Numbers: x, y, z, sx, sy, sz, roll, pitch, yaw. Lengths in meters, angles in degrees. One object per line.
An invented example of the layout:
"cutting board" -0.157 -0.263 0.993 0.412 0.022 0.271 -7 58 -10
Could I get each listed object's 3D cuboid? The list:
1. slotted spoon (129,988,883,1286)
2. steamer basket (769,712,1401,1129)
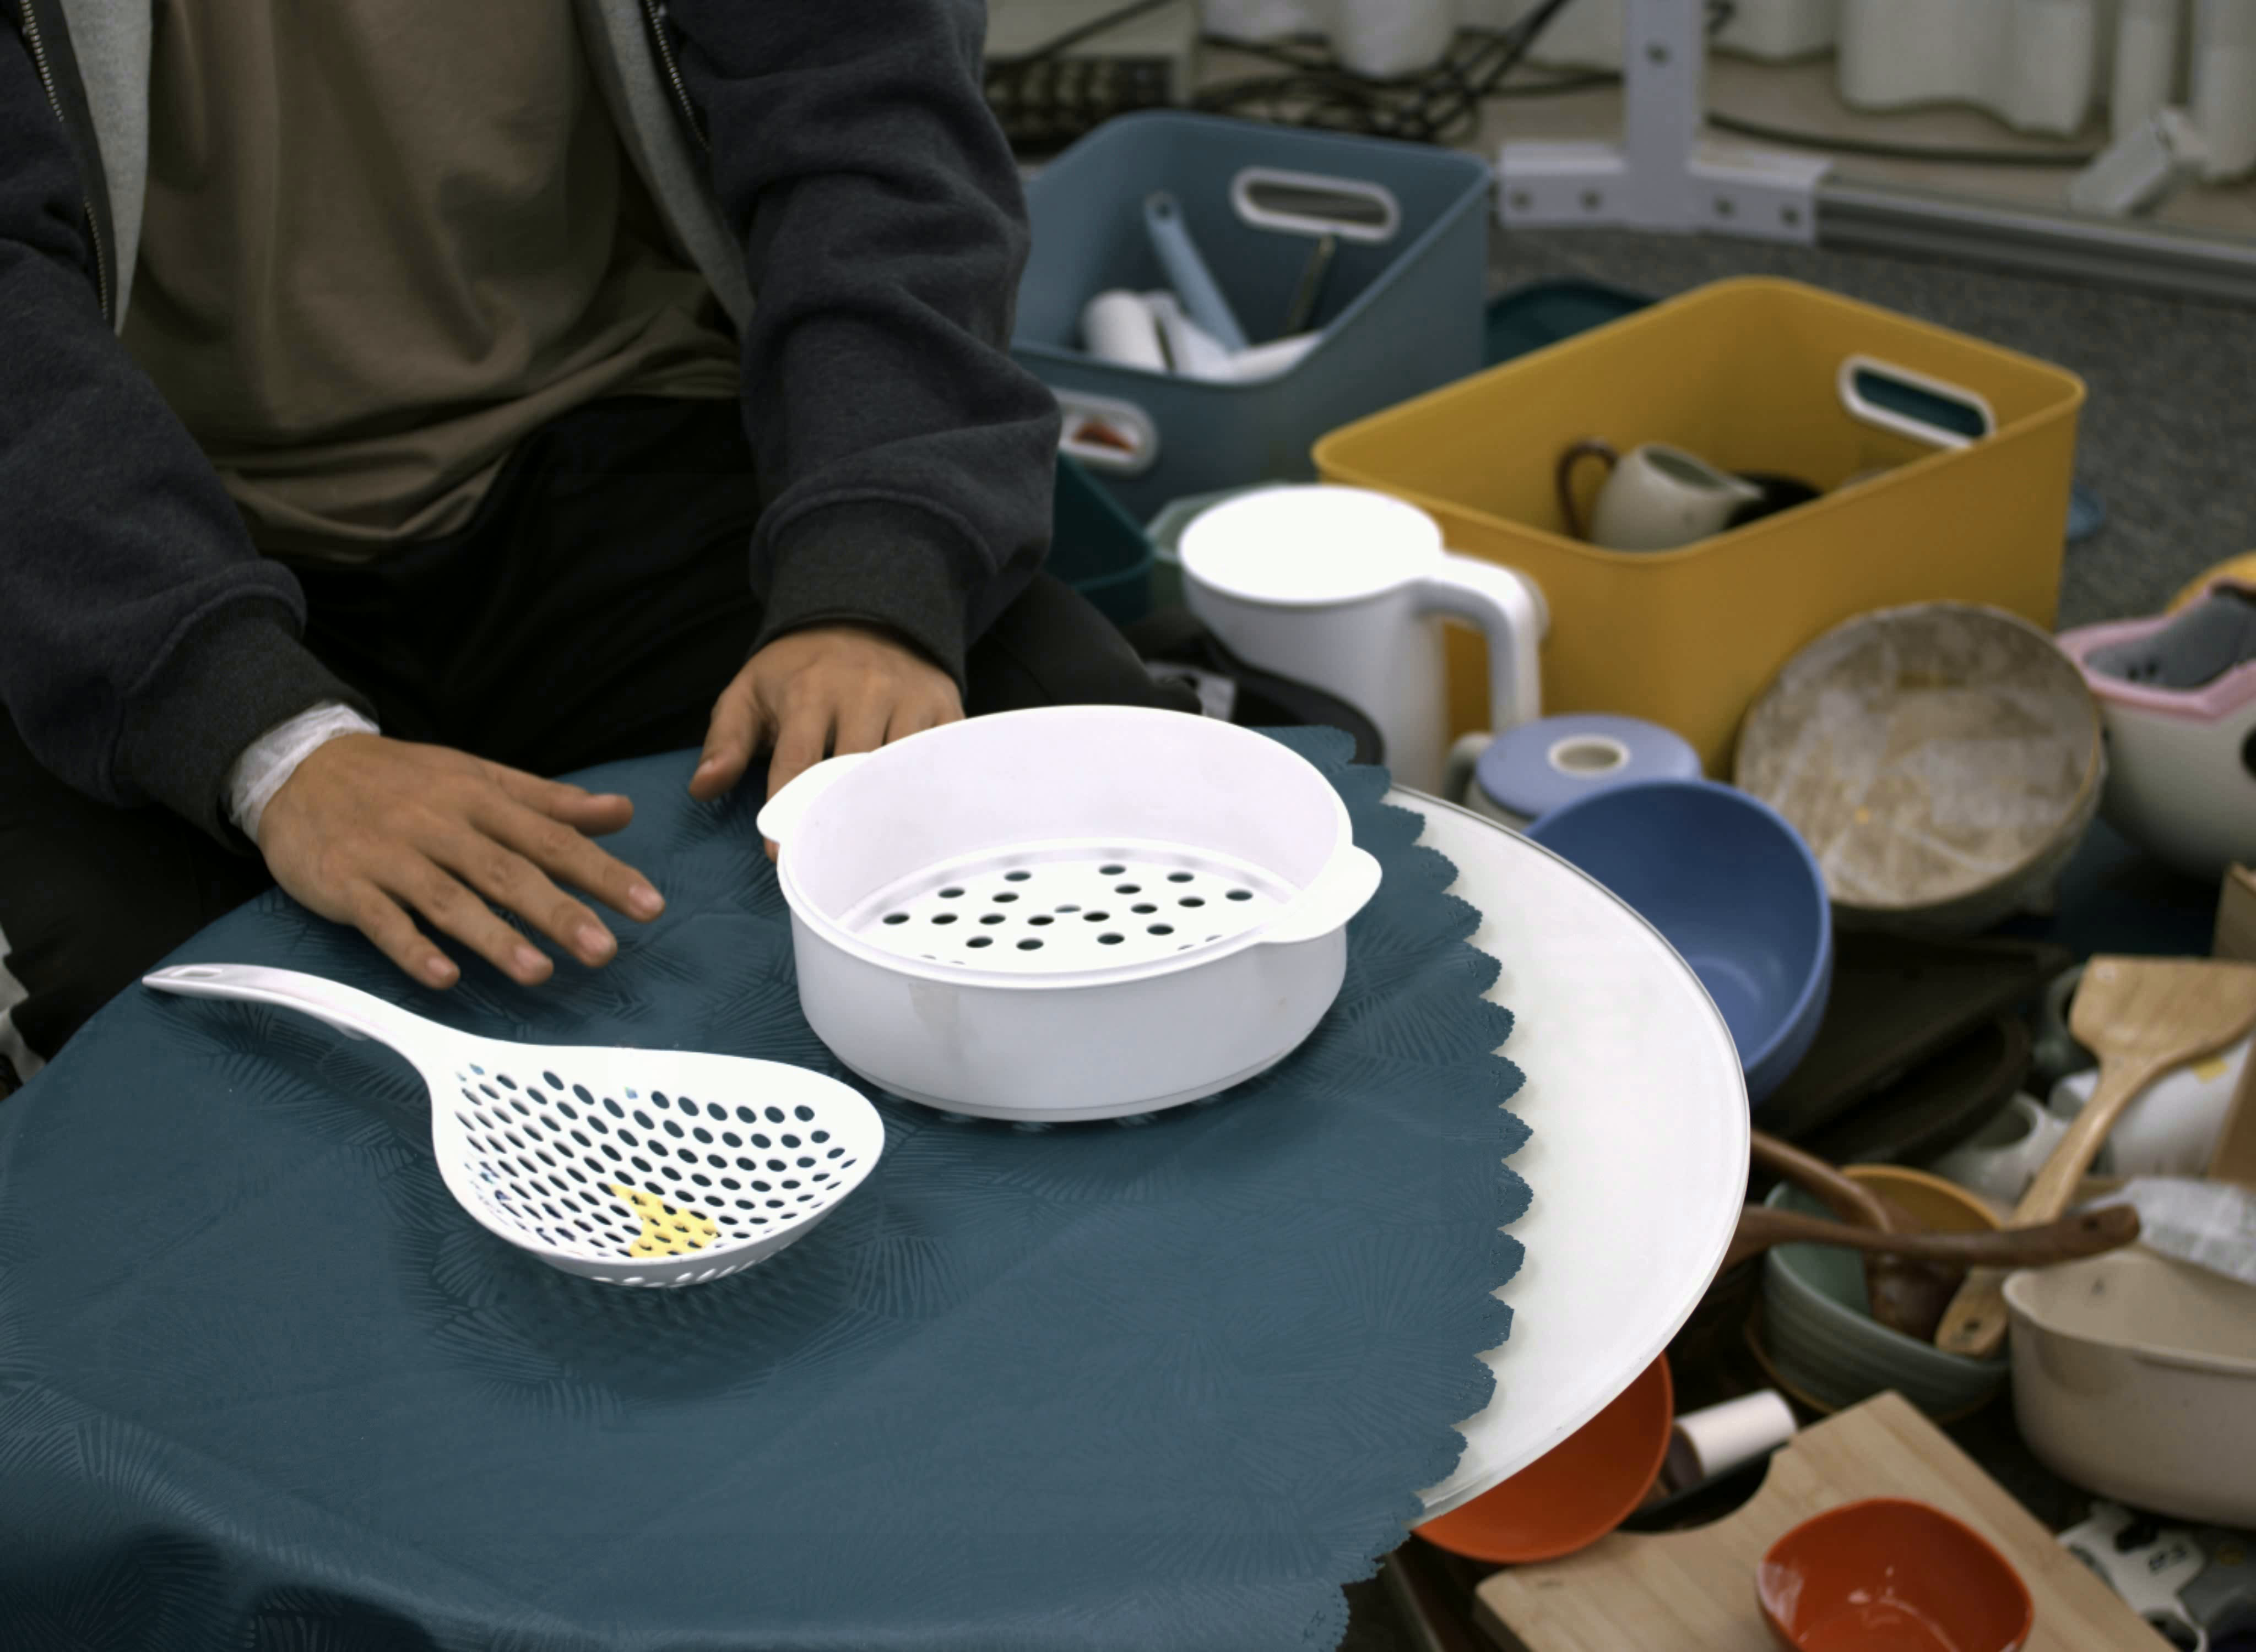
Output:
"slotted spoon" -0.225 0.091 1.902 0.347 0.050 0.138 21 39 39
"steamer basket" -0.016 0.033 1.963 0.229 0.068 0.205 12 30 24
